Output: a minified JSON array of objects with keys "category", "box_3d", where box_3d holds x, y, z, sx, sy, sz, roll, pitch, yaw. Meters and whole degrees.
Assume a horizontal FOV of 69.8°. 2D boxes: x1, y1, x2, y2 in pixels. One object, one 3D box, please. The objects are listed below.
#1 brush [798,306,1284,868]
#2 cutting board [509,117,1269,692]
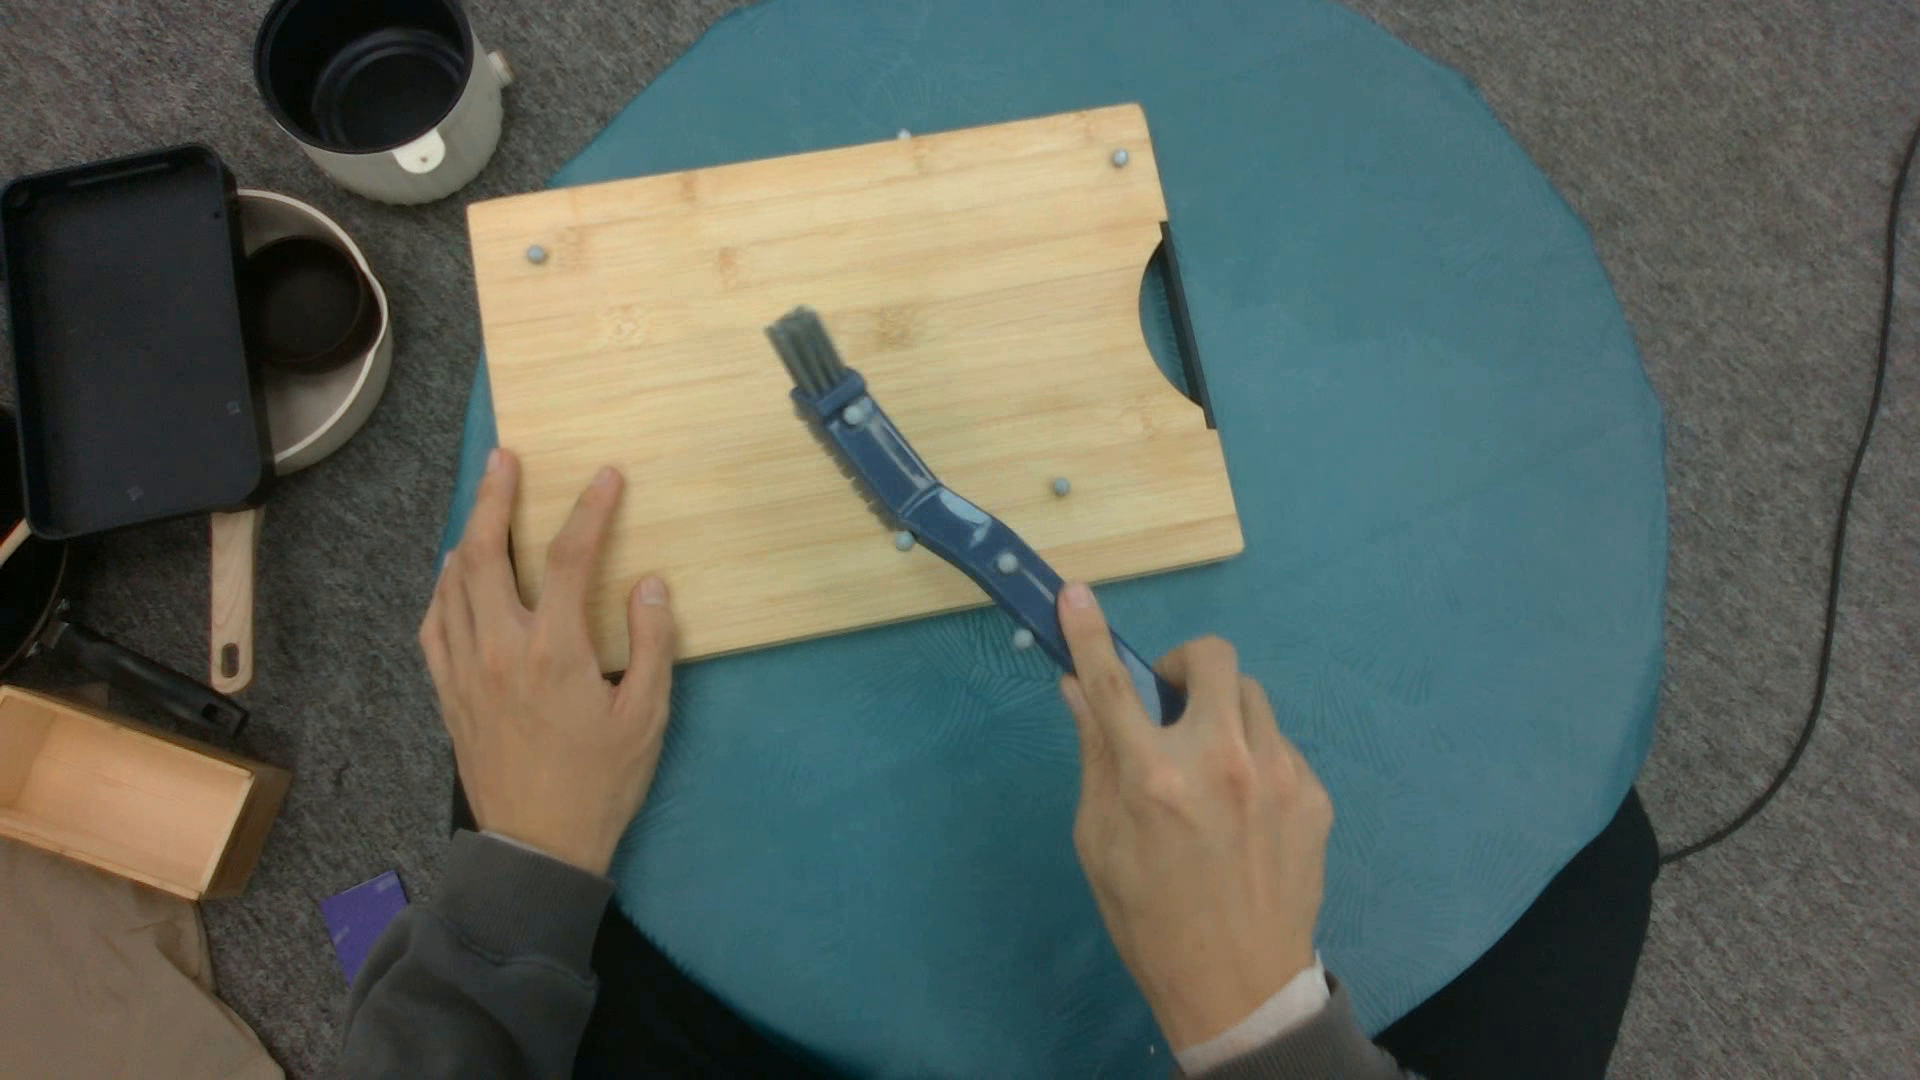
[{"category":"brush","box_3d":[0.028,0.018,0.564,0.273,0.095,0.033,42,63,18]},{"category":"cutting board","box_3d":[-0.041,-0.074,0.692,0.349,0.023,0.251,-11,79,-5]}]
